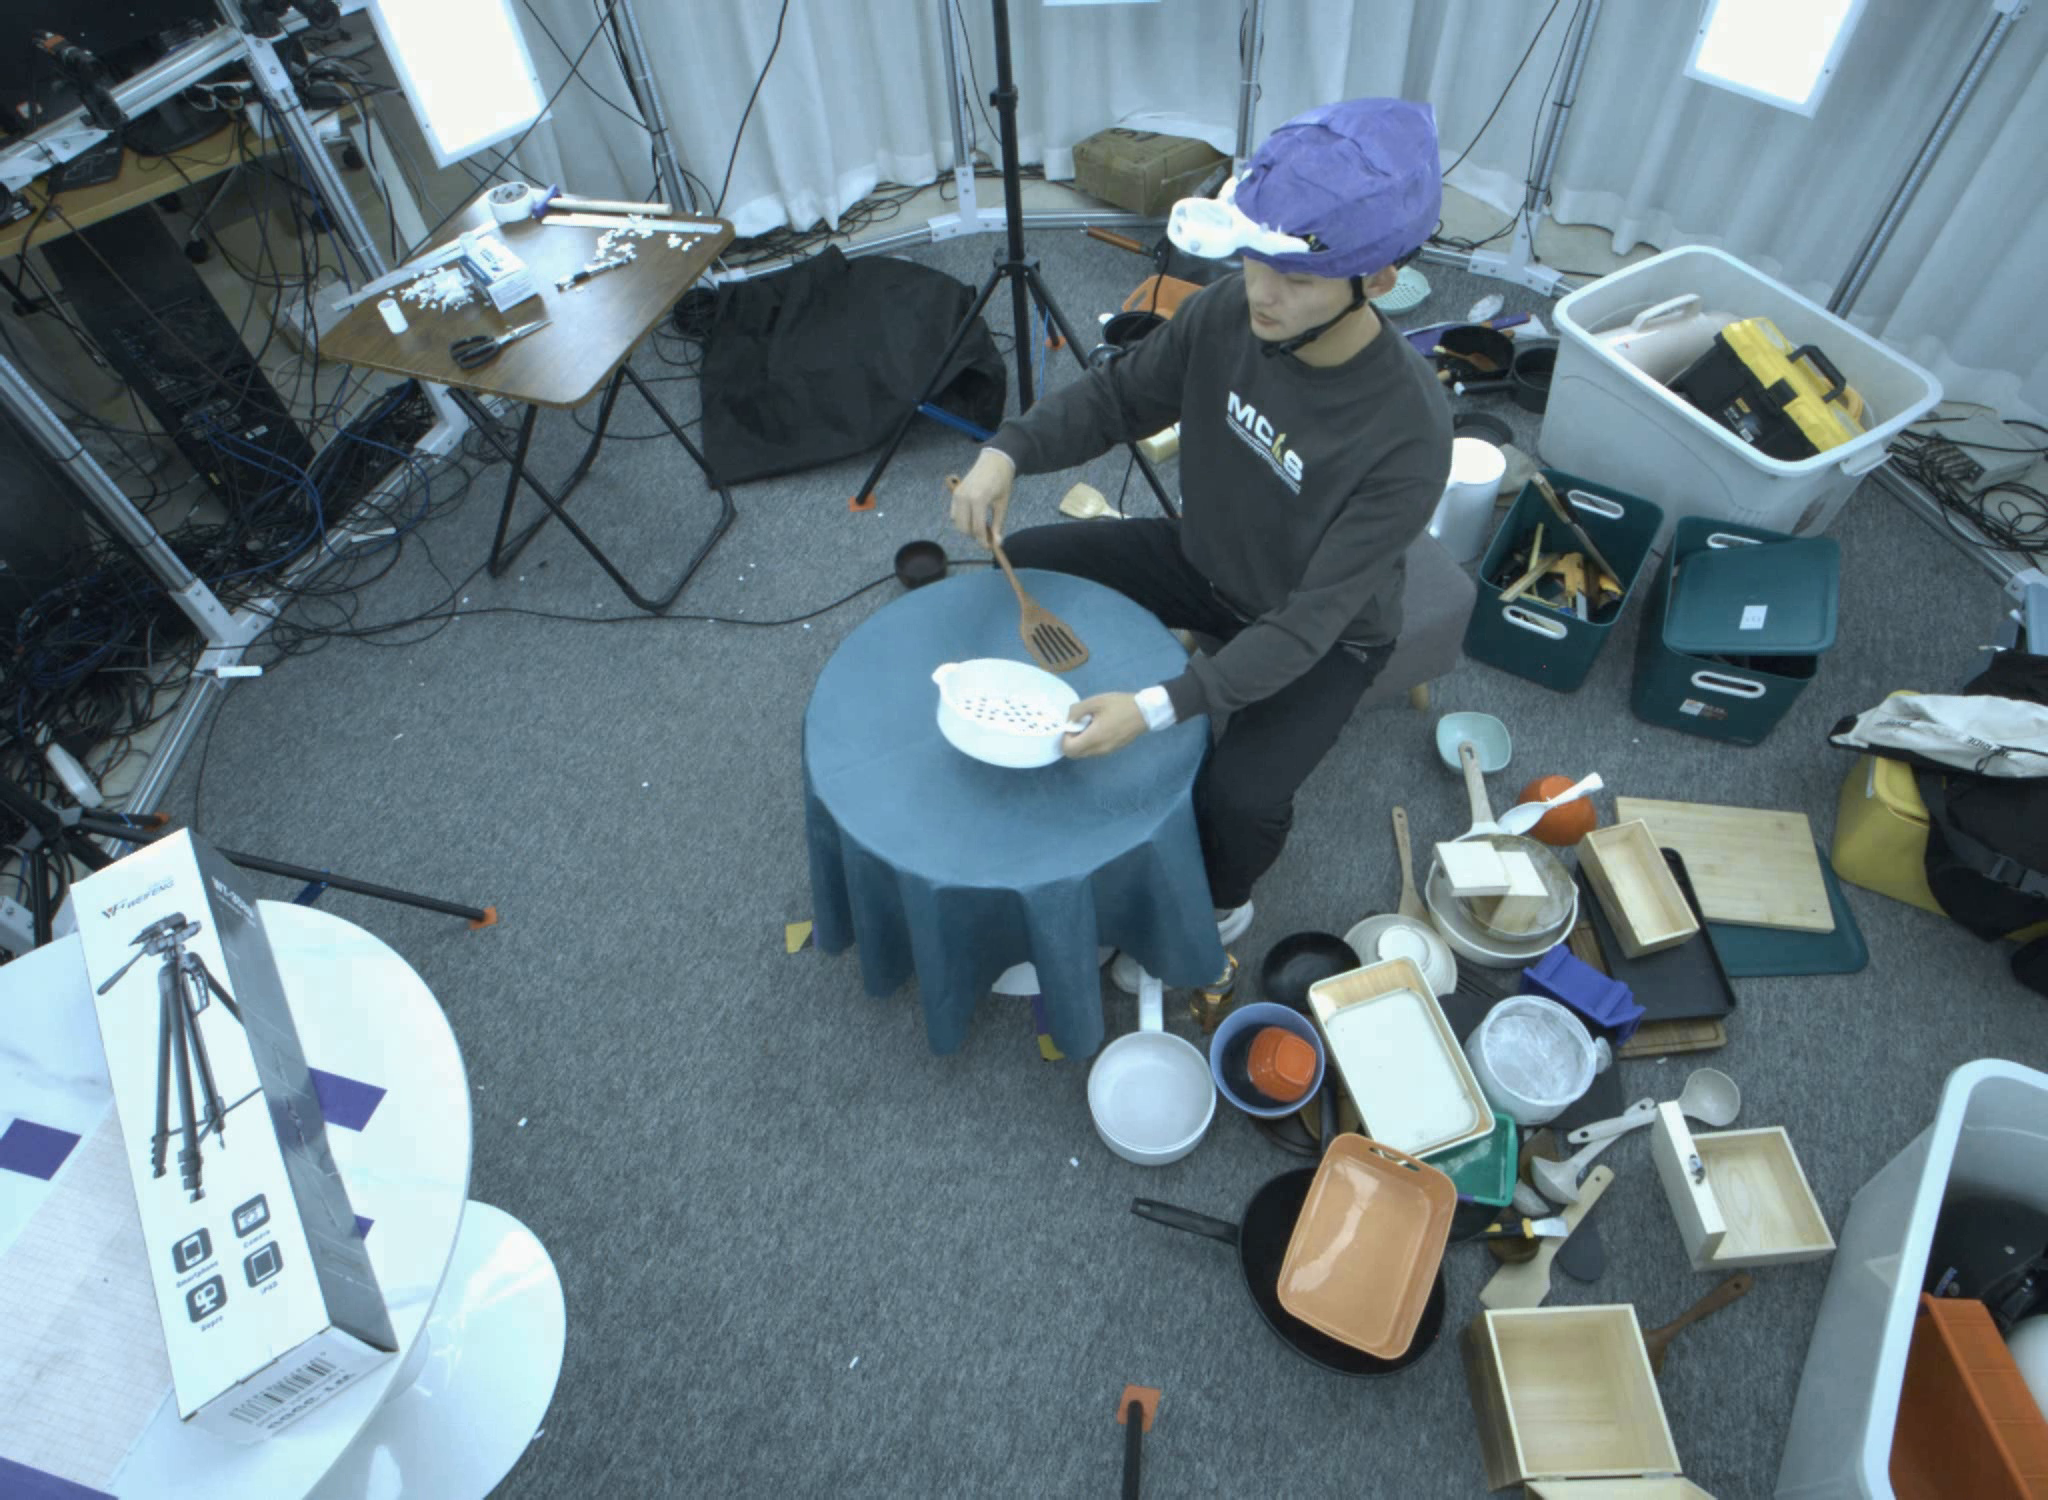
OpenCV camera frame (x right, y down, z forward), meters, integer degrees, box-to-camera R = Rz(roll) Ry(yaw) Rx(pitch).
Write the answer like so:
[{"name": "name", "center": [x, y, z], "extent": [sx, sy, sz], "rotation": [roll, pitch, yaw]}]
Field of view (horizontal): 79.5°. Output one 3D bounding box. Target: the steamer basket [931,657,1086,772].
[{"name": "steamer basket", "center": [-0.029, -0.049, 1.735], "extent": [0.229, 0.069, 0.202], "rotation": [25, 33, 7]}]

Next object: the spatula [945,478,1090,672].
[{"name": "spatula", "center": [-0.028, -0.264, 1.812], "extent": [0.087, 0.023, 0.380], "rotation": [-20, 68, -26]}]
